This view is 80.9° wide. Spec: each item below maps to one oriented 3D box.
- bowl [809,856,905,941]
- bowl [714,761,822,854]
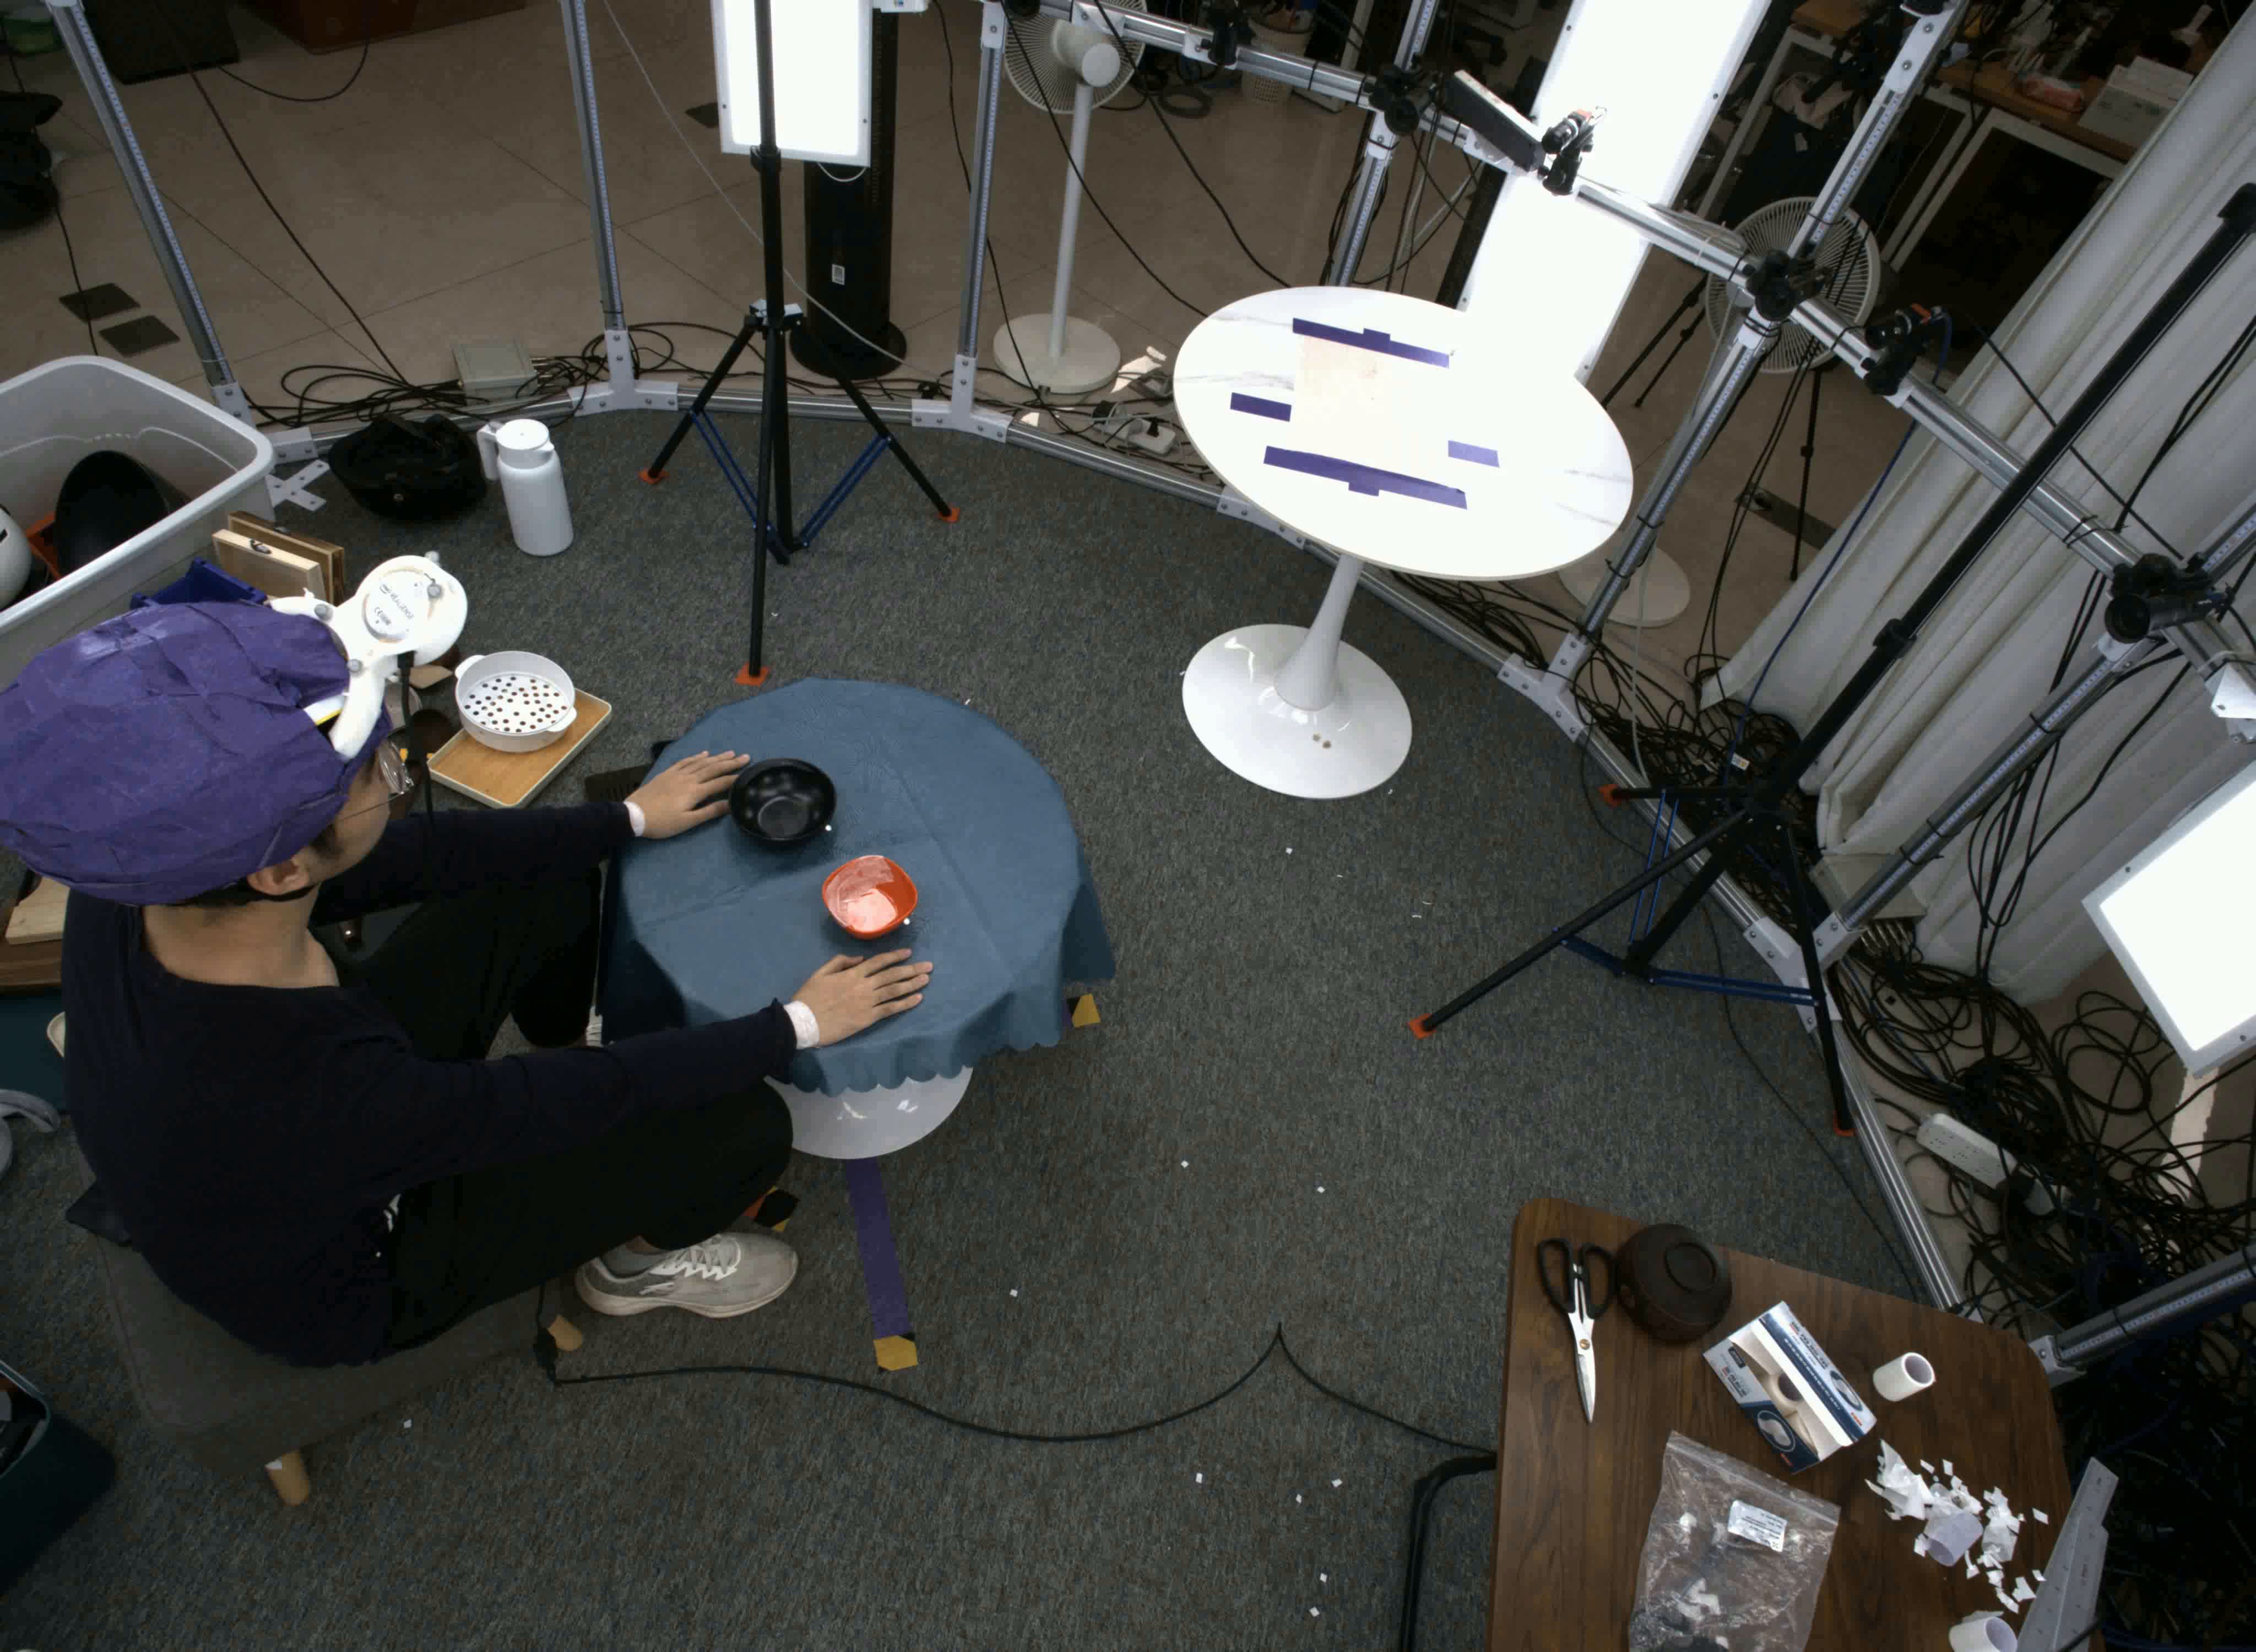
[{"bbox_3d":[-0.344,0.099,1.648,0.119,0.052,0.117,9,52,-10],"label":"bowl"},{"bbox_3d":[-0.472,-0.017,1.707,0.139,0.051,0.138,5,56,-6],"label":"bowl"}]
